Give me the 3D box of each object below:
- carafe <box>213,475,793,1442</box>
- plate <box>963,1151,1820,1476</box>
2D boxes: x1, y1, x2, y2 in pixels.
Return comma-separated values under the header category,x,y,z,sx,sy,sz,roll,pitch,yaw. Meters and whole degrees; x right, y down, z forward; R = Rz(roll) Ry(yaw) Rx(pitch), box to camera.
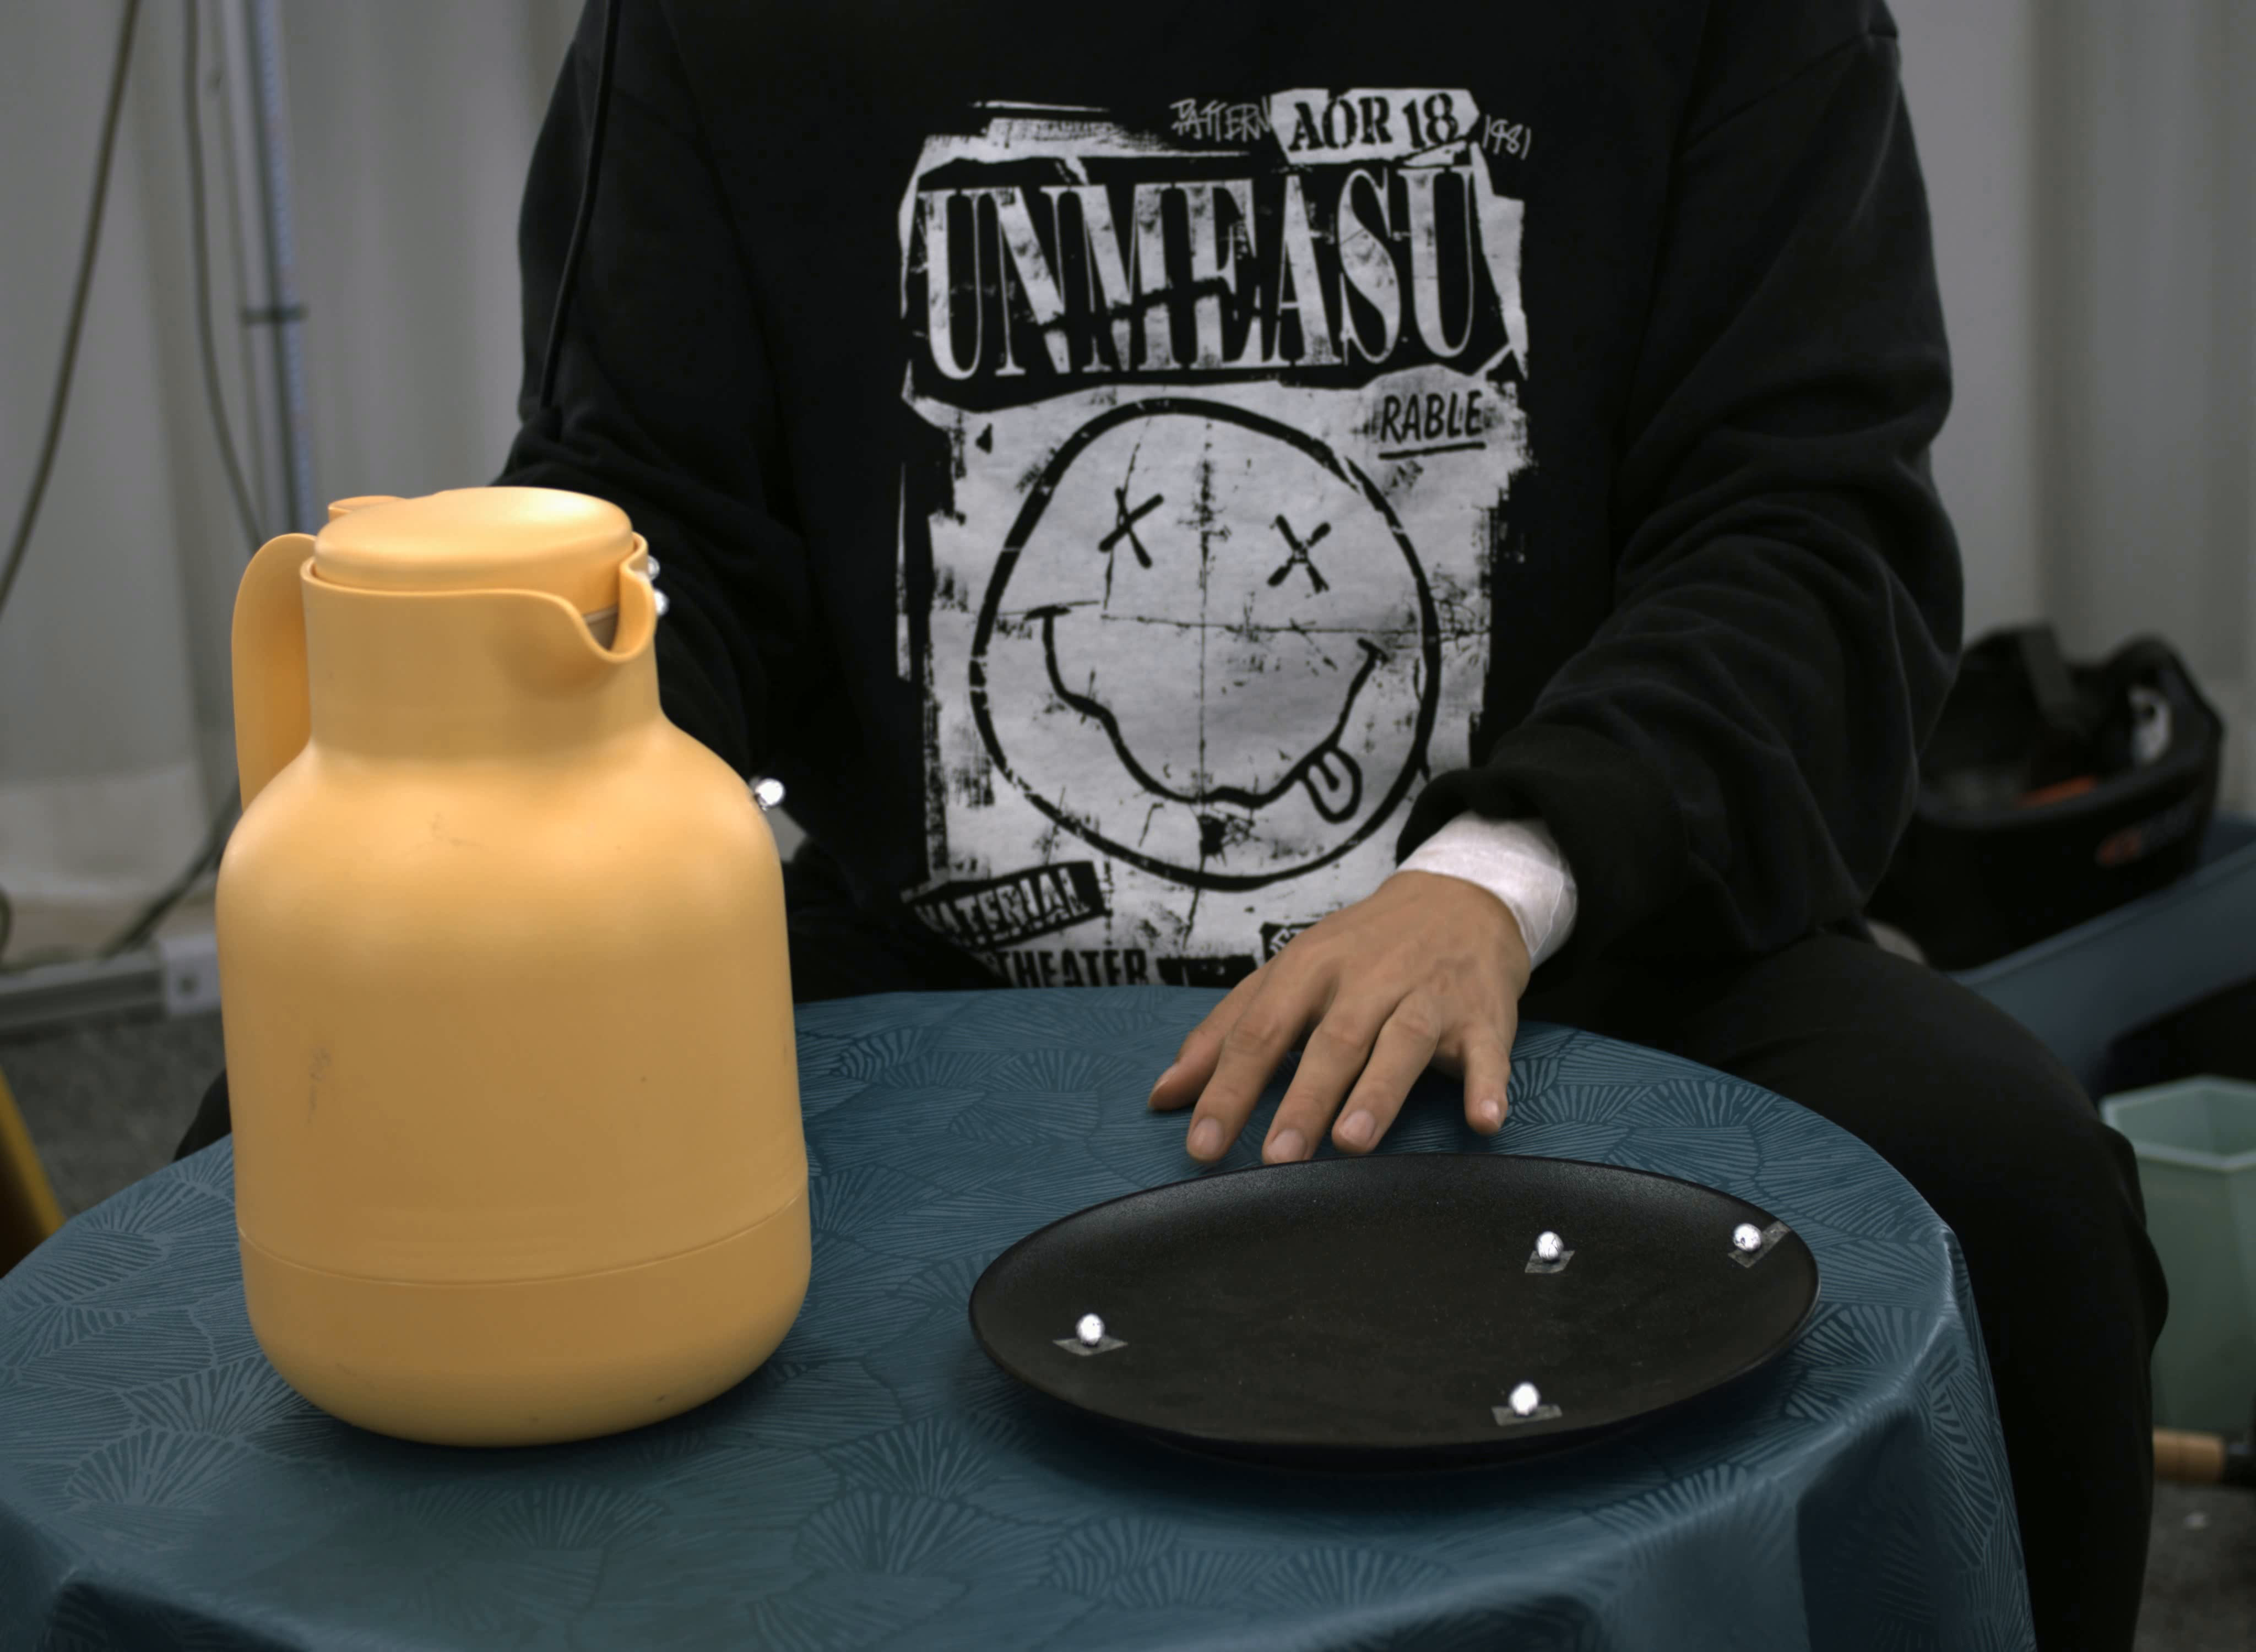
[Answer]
category,x,y,z,sx,sy,sz,roll,pitch,yaw
carafe,-0.188,0.029,1.563,0.163,0.259,0.204,-9,17,-35
plate,0.075,0.141,1.555,0.243,0.023,0.246,-3,15,0
